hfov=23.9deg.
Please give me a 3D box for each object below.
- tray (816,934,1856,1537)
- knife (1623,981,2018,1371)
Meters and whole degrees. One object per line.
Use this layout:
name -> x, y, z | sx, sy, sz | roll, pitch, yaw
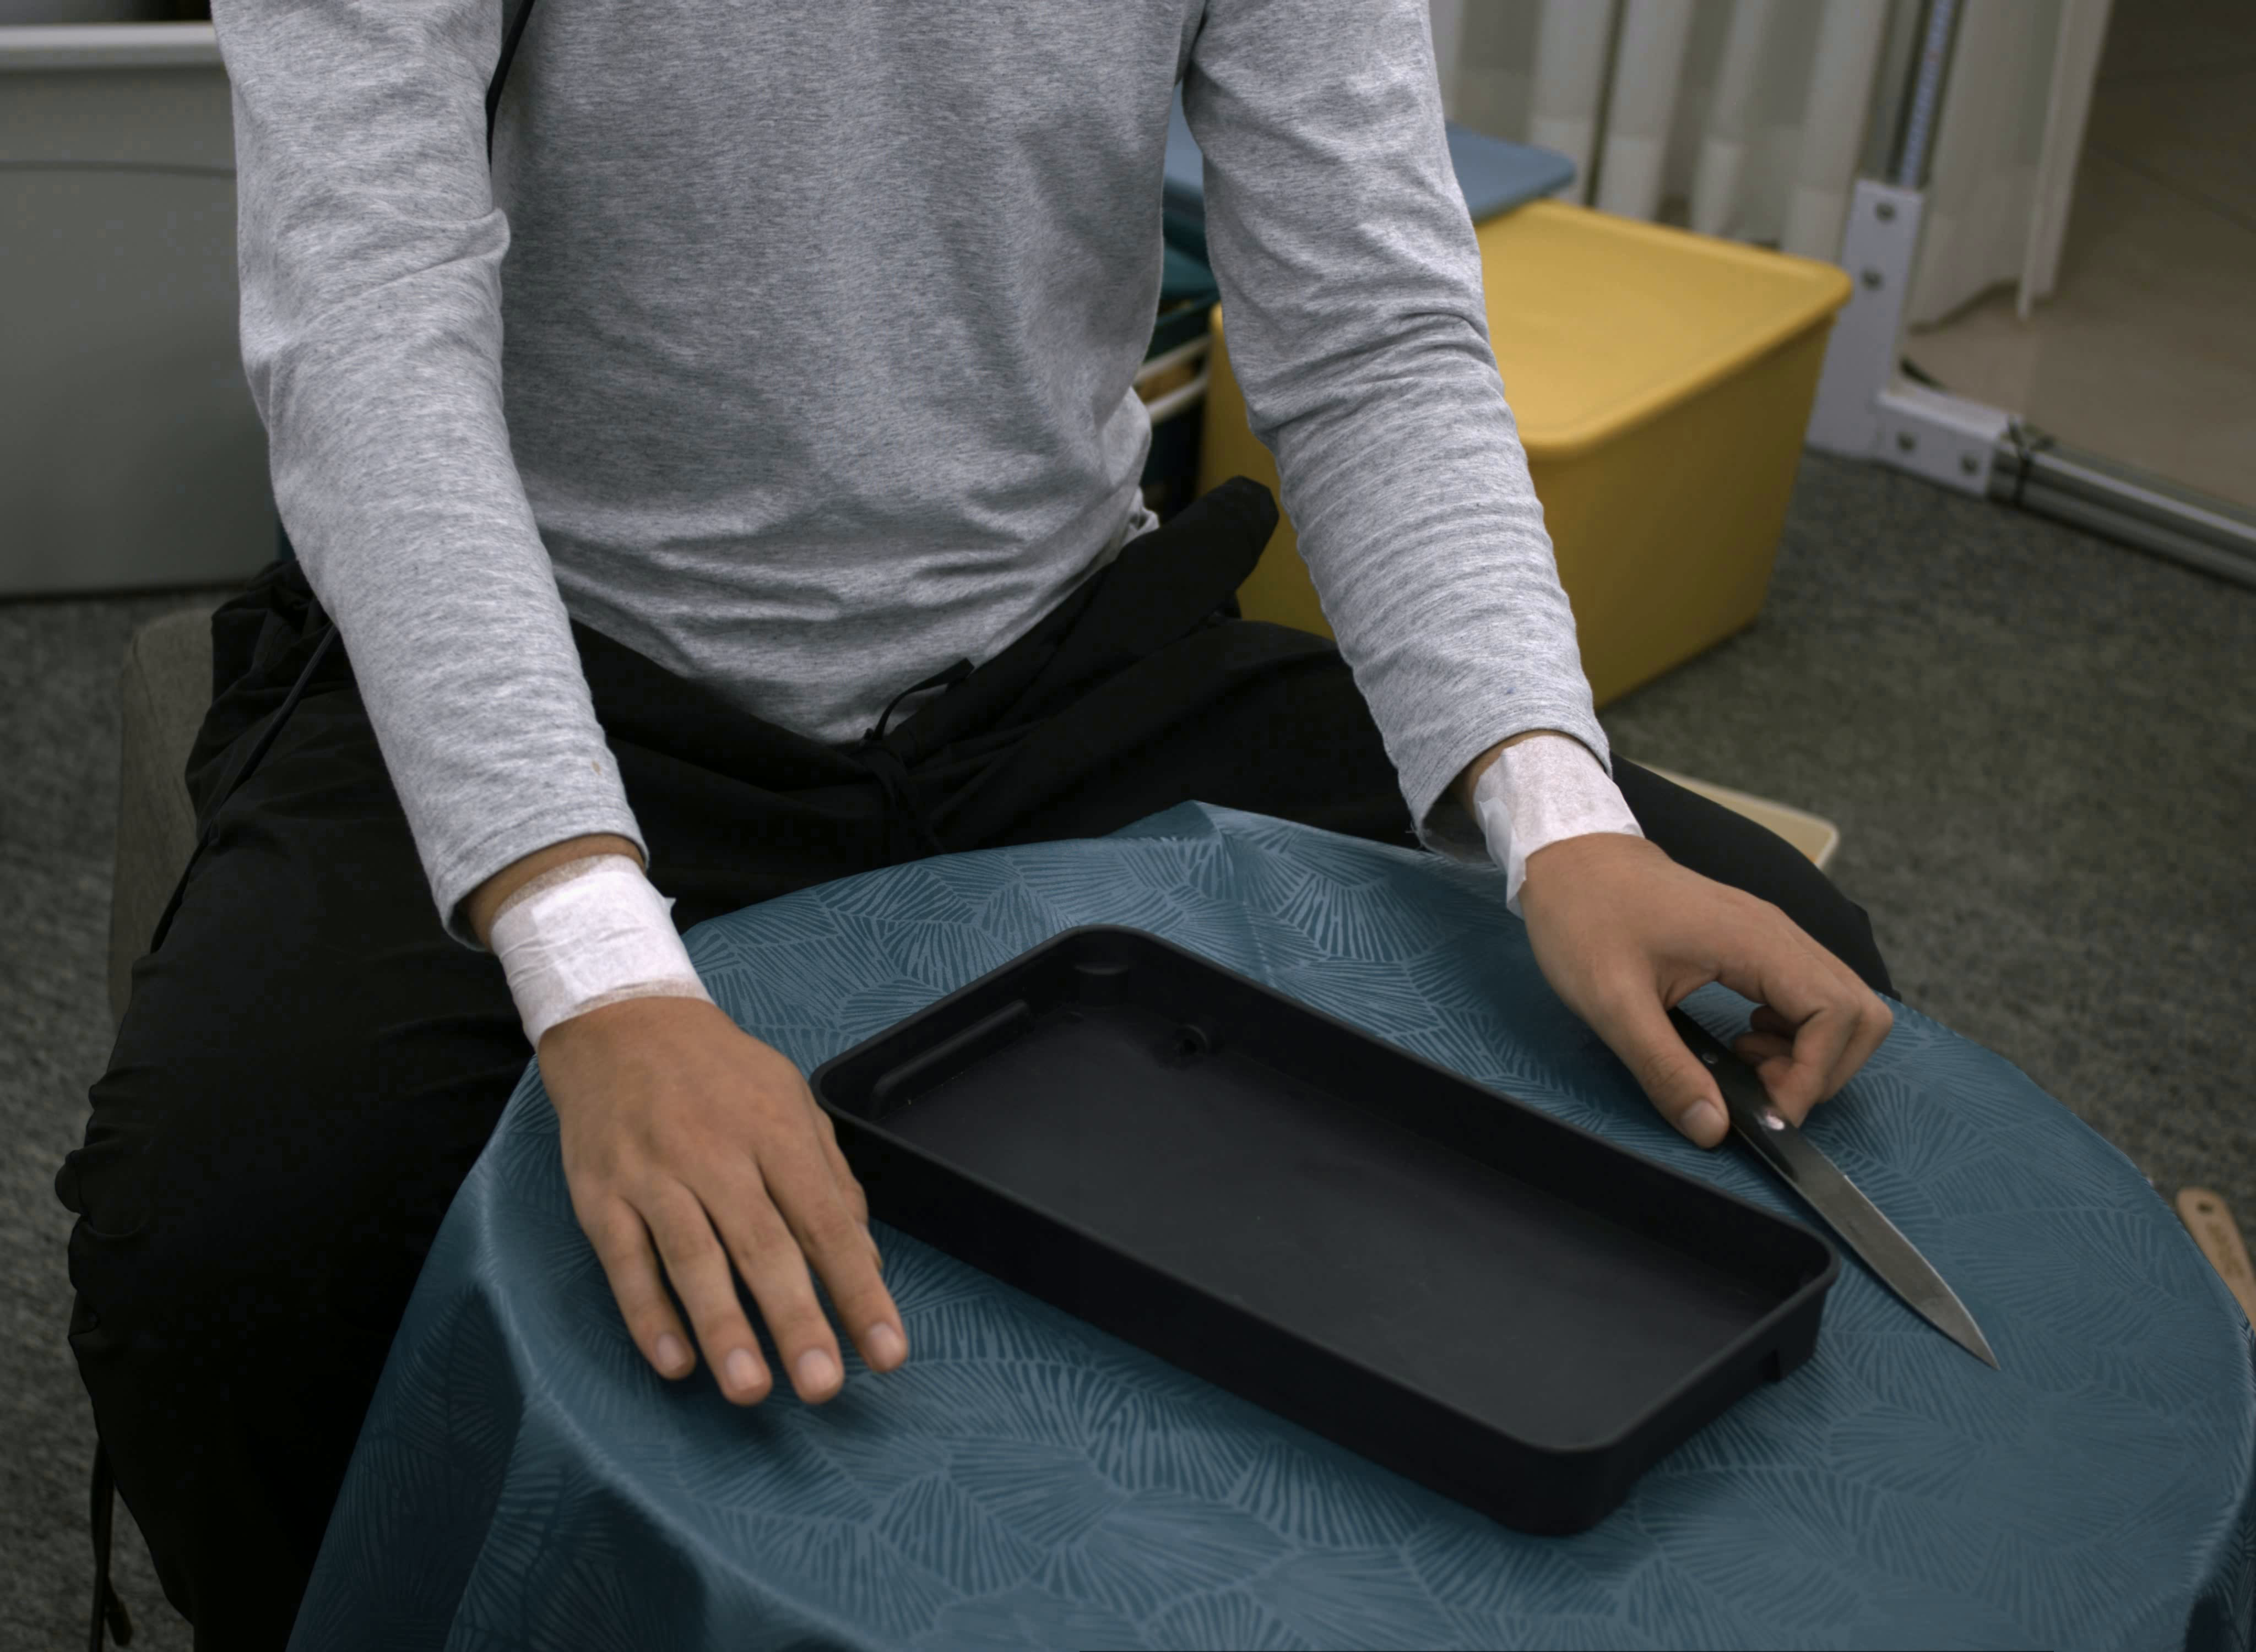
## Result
tray -> 0.066, 0.130, 1.769 | 0.320, 0.037, 0.184 | 22, 30, 29
knife -> 0.237, 0.121, 1.848 | 0.024, 0.016, 0.240 | -8, 34, -27
